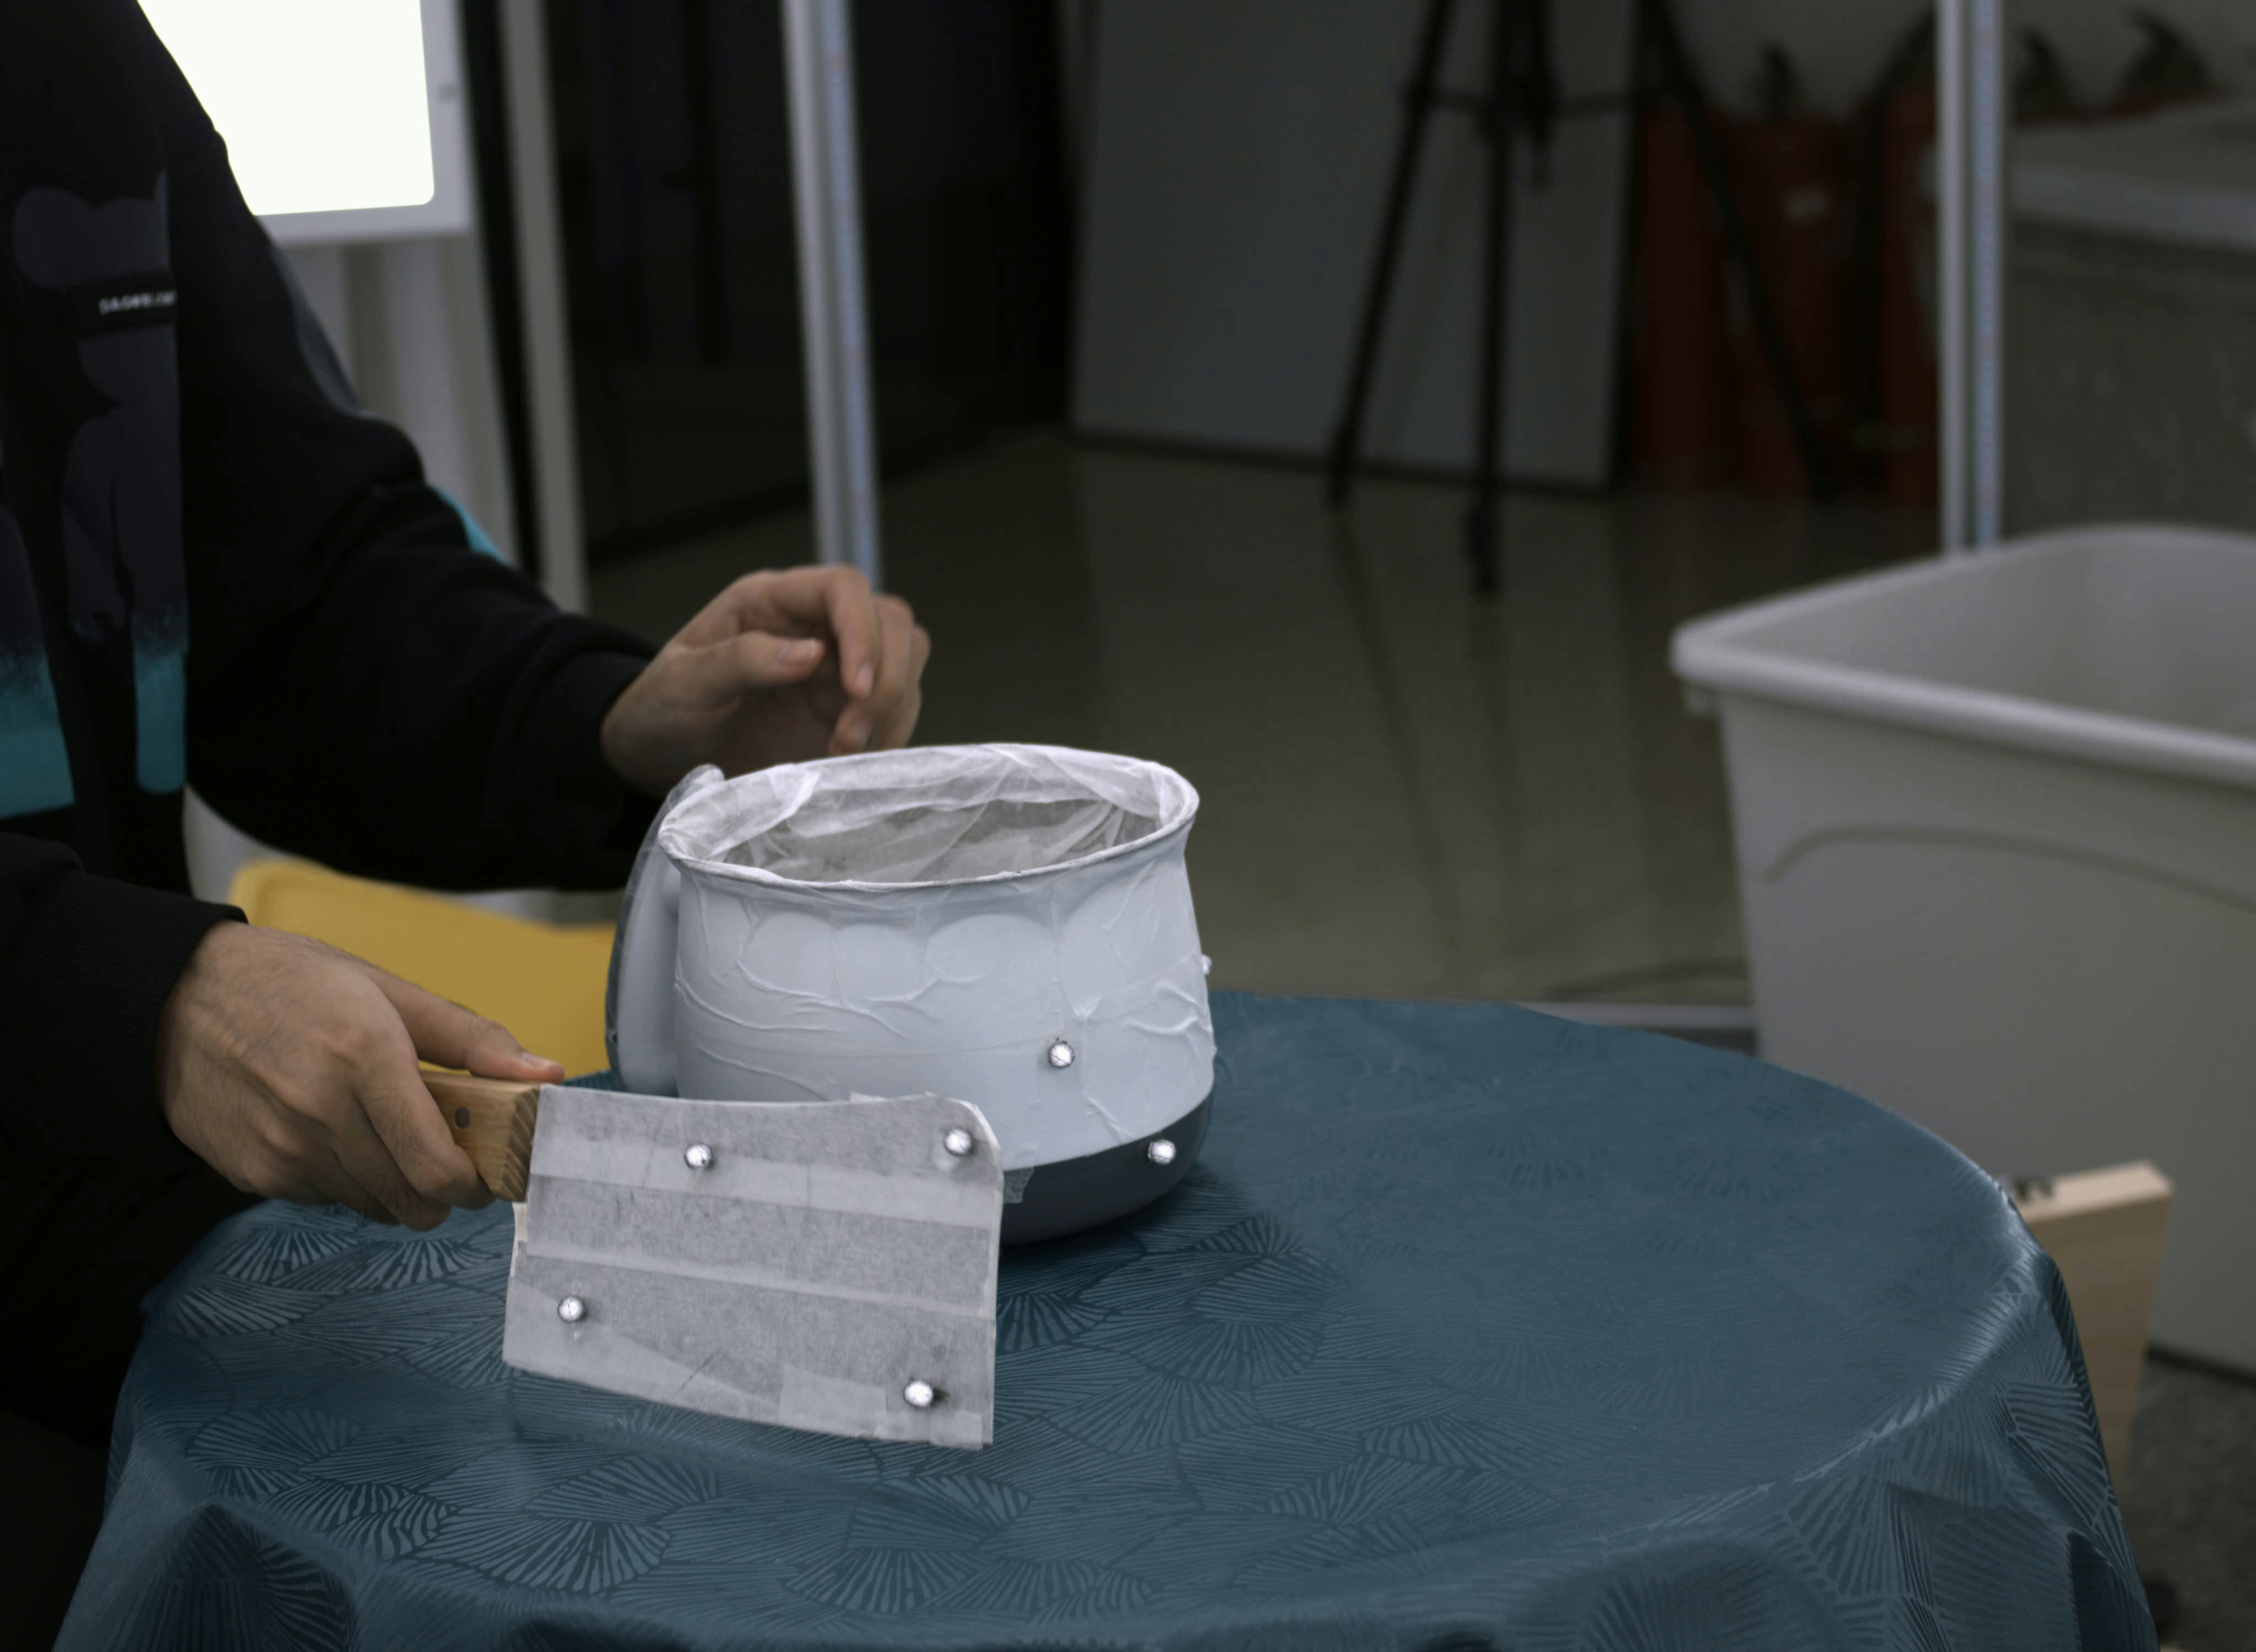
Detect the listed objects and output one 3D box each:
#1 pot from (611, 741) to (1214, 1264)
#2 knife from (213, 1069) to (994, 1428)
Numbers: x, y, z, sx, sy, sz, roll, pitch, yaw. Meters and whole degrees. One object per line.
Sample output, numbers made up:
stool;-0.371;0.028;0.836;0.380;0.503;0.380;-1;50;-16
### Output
pot;-0.082;0.053;1.779;0.235;0.138;0.175;8;17;38
knife;-0.156;0.112;1.599;0.317;0.115;0.021;8;-1;38
